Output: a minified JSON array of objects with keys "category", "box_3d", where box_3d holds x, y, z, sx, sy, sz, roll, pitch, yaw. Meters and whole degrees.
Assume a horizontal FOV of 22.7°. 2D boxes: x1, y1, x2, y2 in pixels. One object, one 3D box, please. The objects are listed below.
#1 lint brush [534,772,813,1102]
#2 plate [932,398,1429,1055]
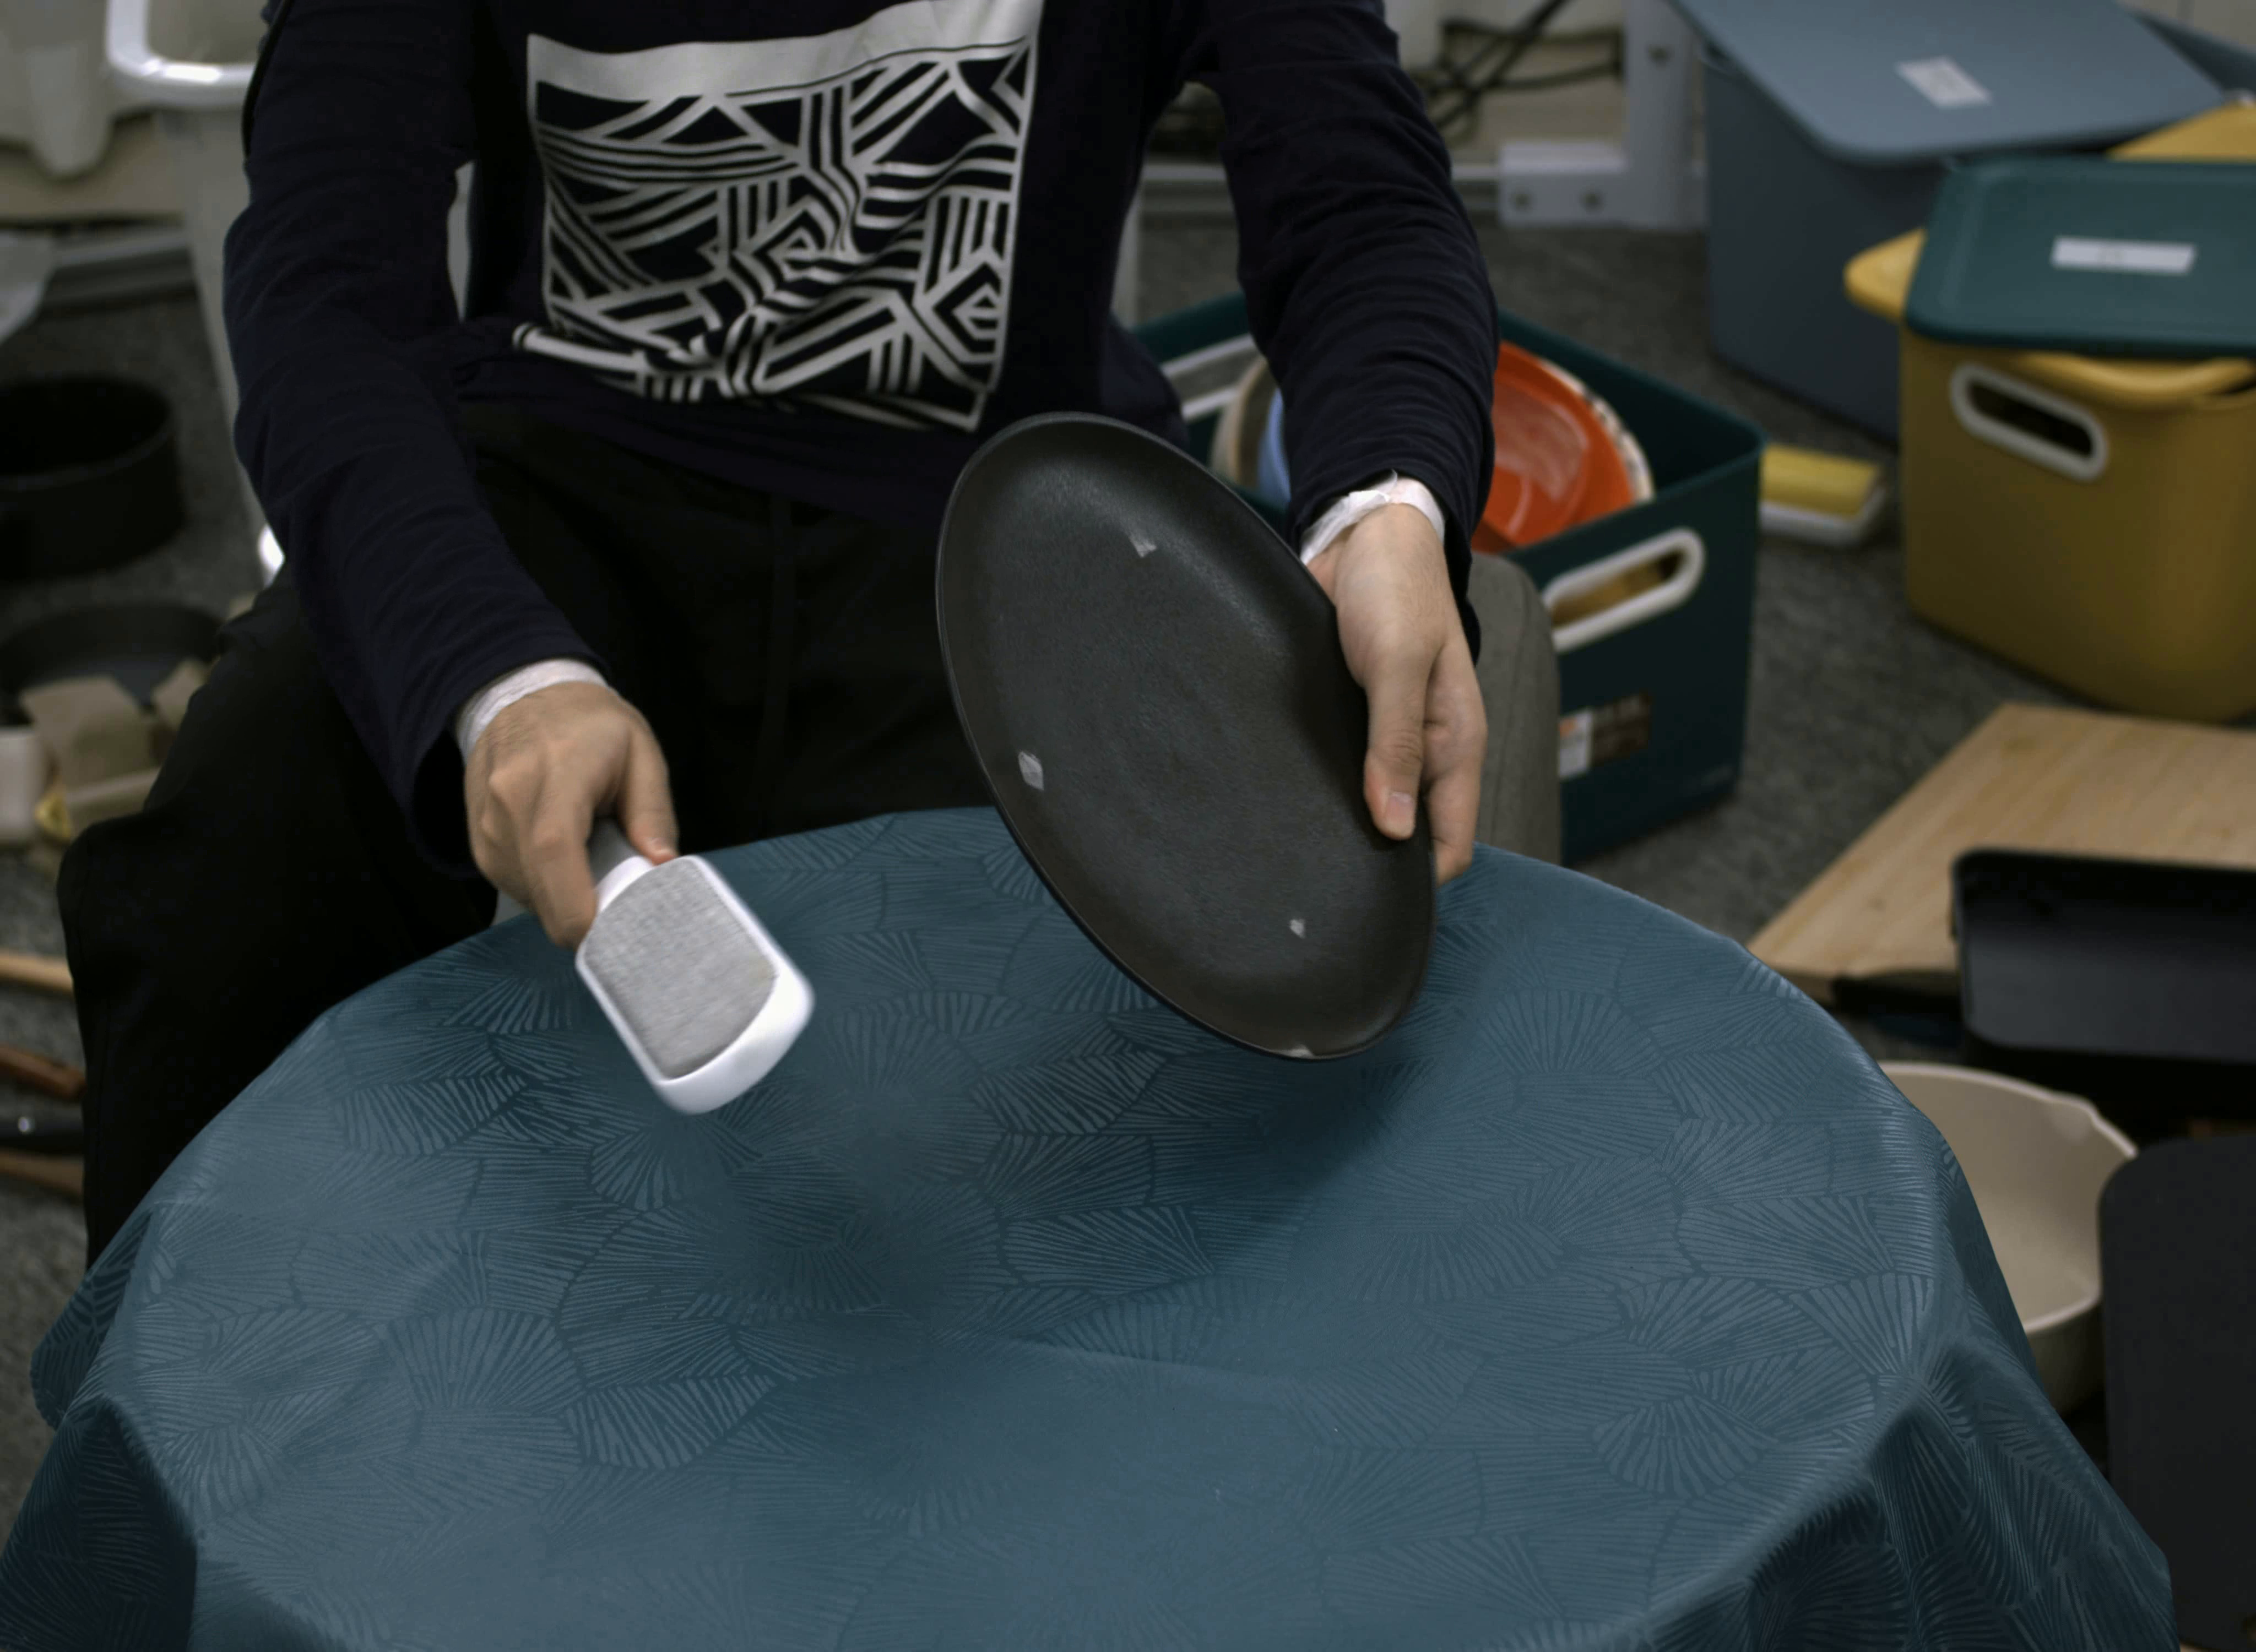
[{"category":"lint brush","box_3d":[-0.157,0.029,1.862,0.060,0.021,0.310,-46,22,-1]},{"category":"plate","box_3d":[0.014,-0.032,1.897,0.023,0.244,0.248,-31,11,33]}]
